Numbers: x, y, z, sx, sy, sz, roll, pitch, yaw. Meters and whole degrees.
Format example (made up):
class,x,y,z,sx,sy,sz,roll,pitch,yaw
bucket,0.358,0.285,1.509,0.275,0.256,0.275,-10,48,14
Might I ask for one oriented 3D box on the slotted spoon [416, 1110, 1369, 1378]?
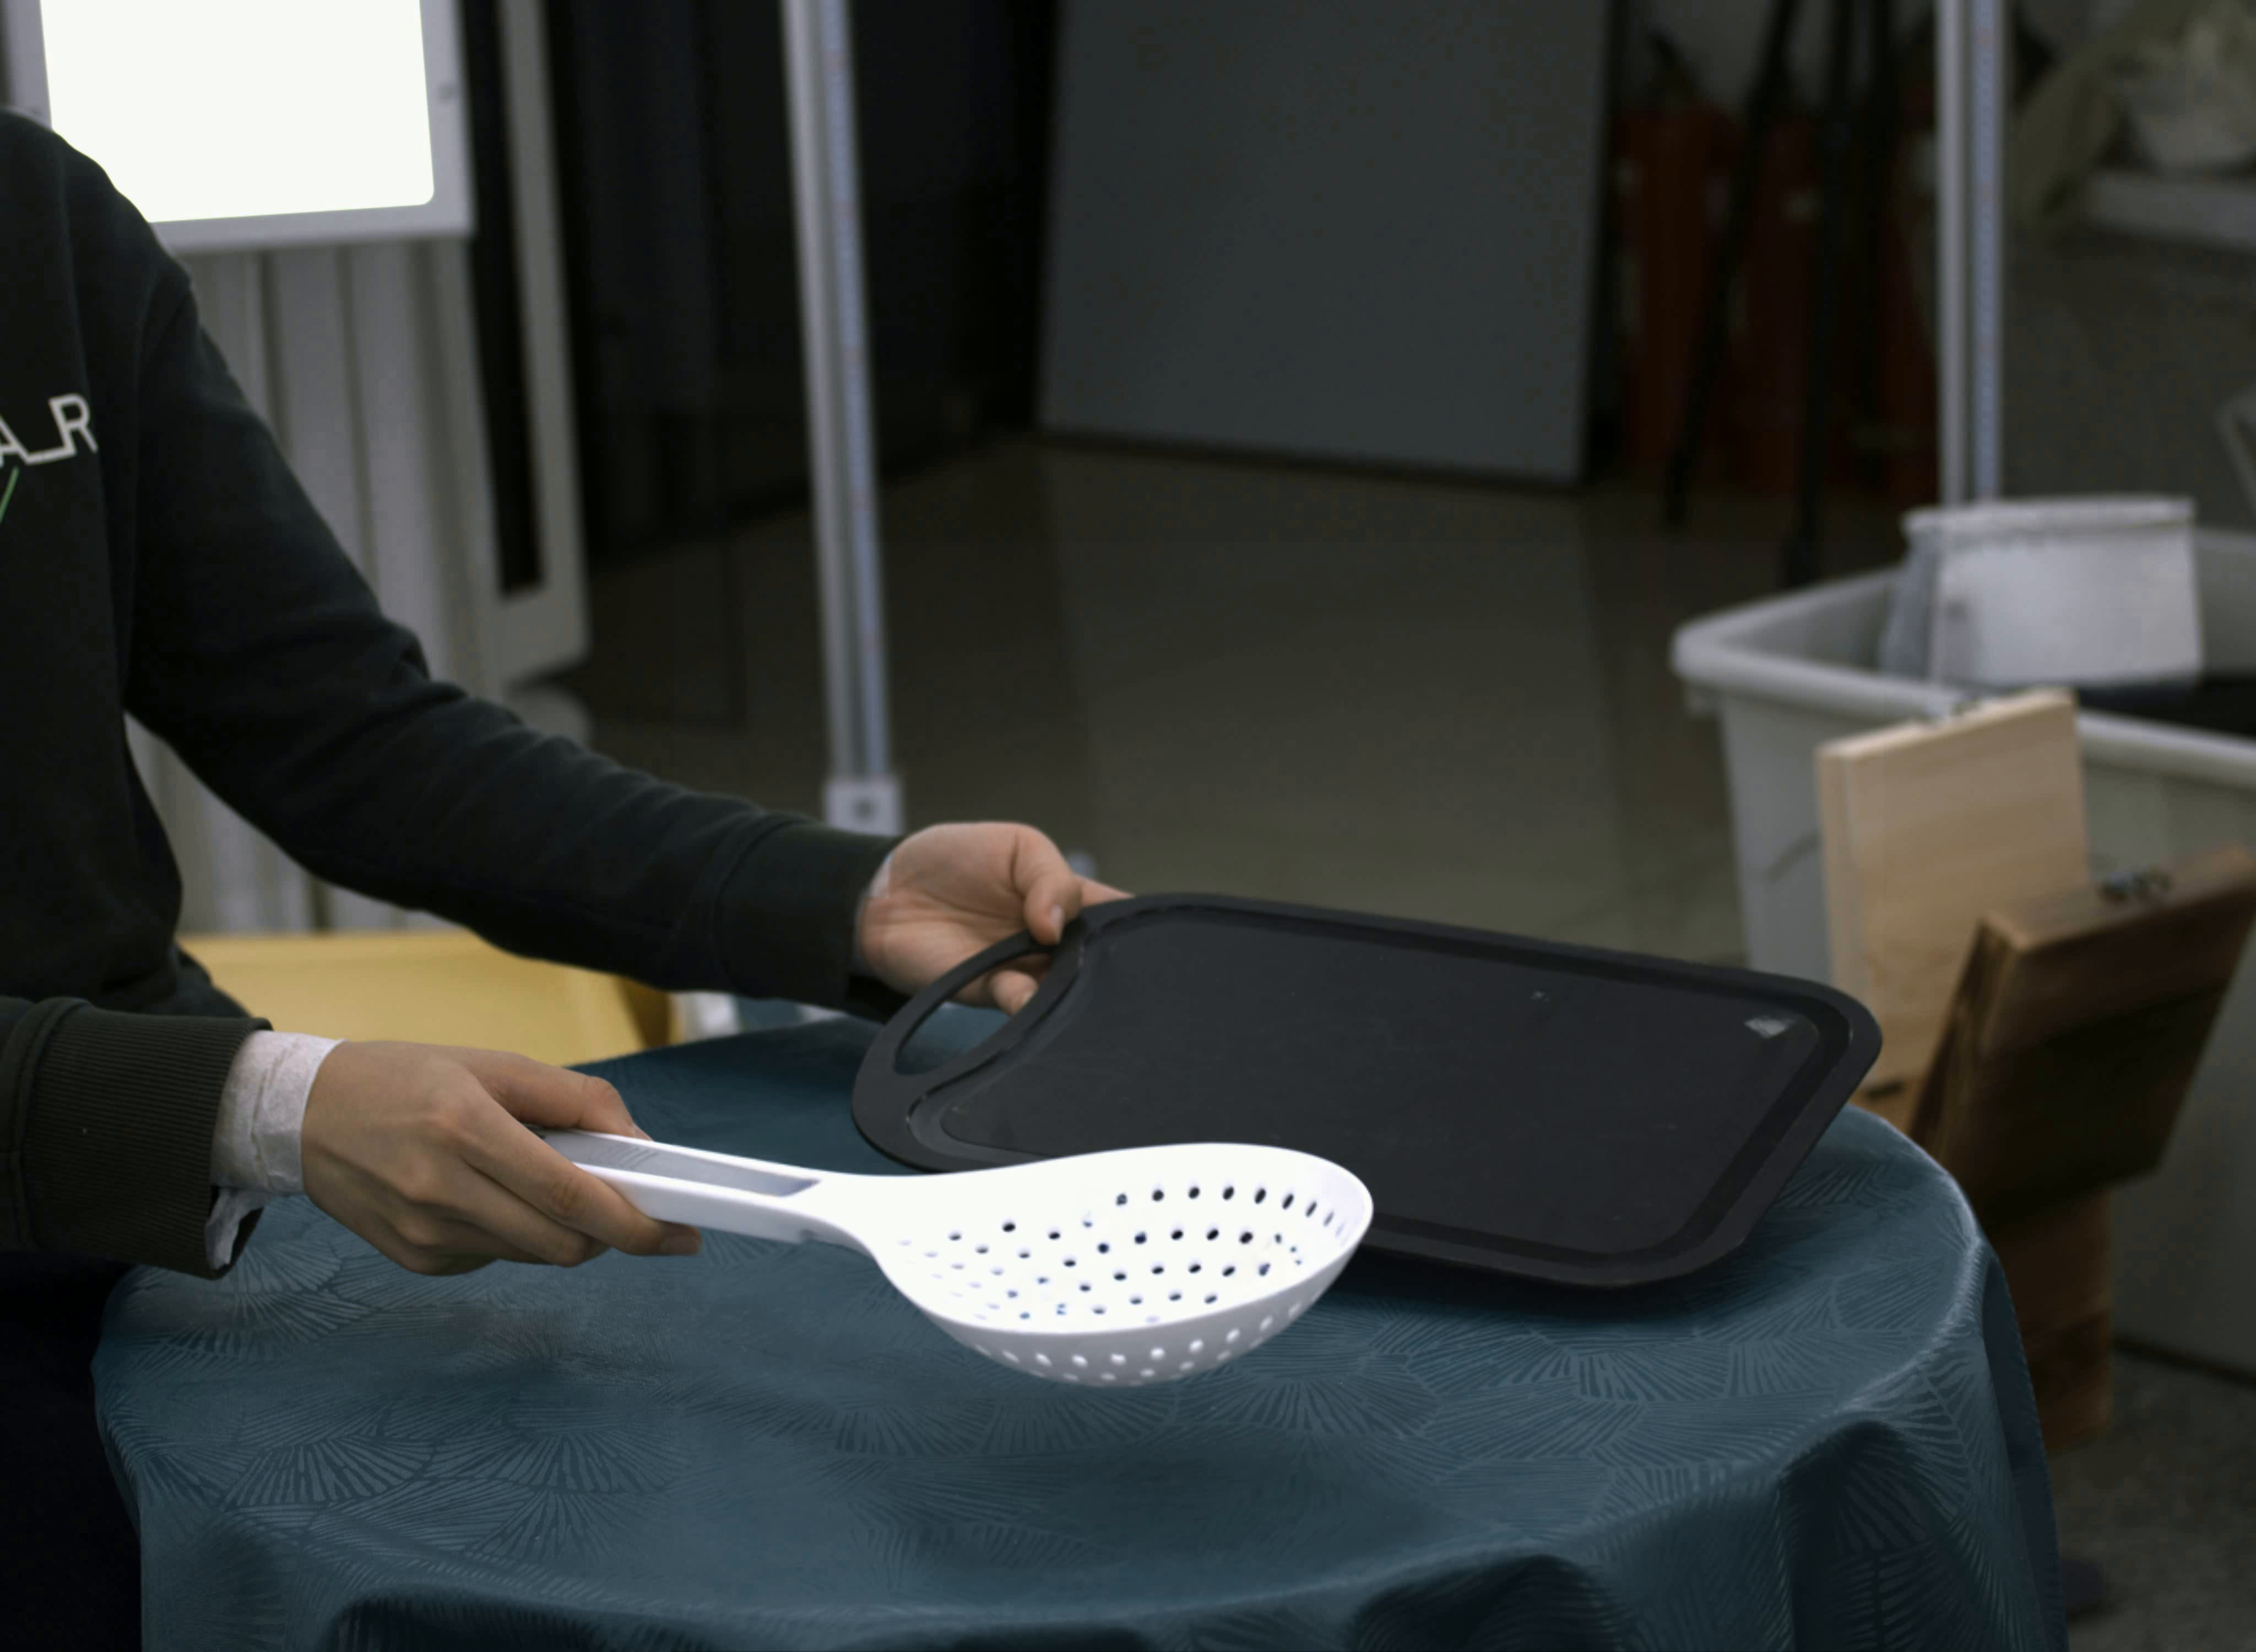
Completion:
class,x,y,z,sx,sy,sz,roll,pitch,yaw
slotted spoon,-0.081,0.112,1.585,0.352,0.046,0.133,11,24,38

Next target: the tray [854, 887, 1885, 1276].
class,x,y,z,sx,sy,sz,roll,pitch,yaw
tray,0.071,0.077,1.750,0.326,0.010,0.209,8,28,27
